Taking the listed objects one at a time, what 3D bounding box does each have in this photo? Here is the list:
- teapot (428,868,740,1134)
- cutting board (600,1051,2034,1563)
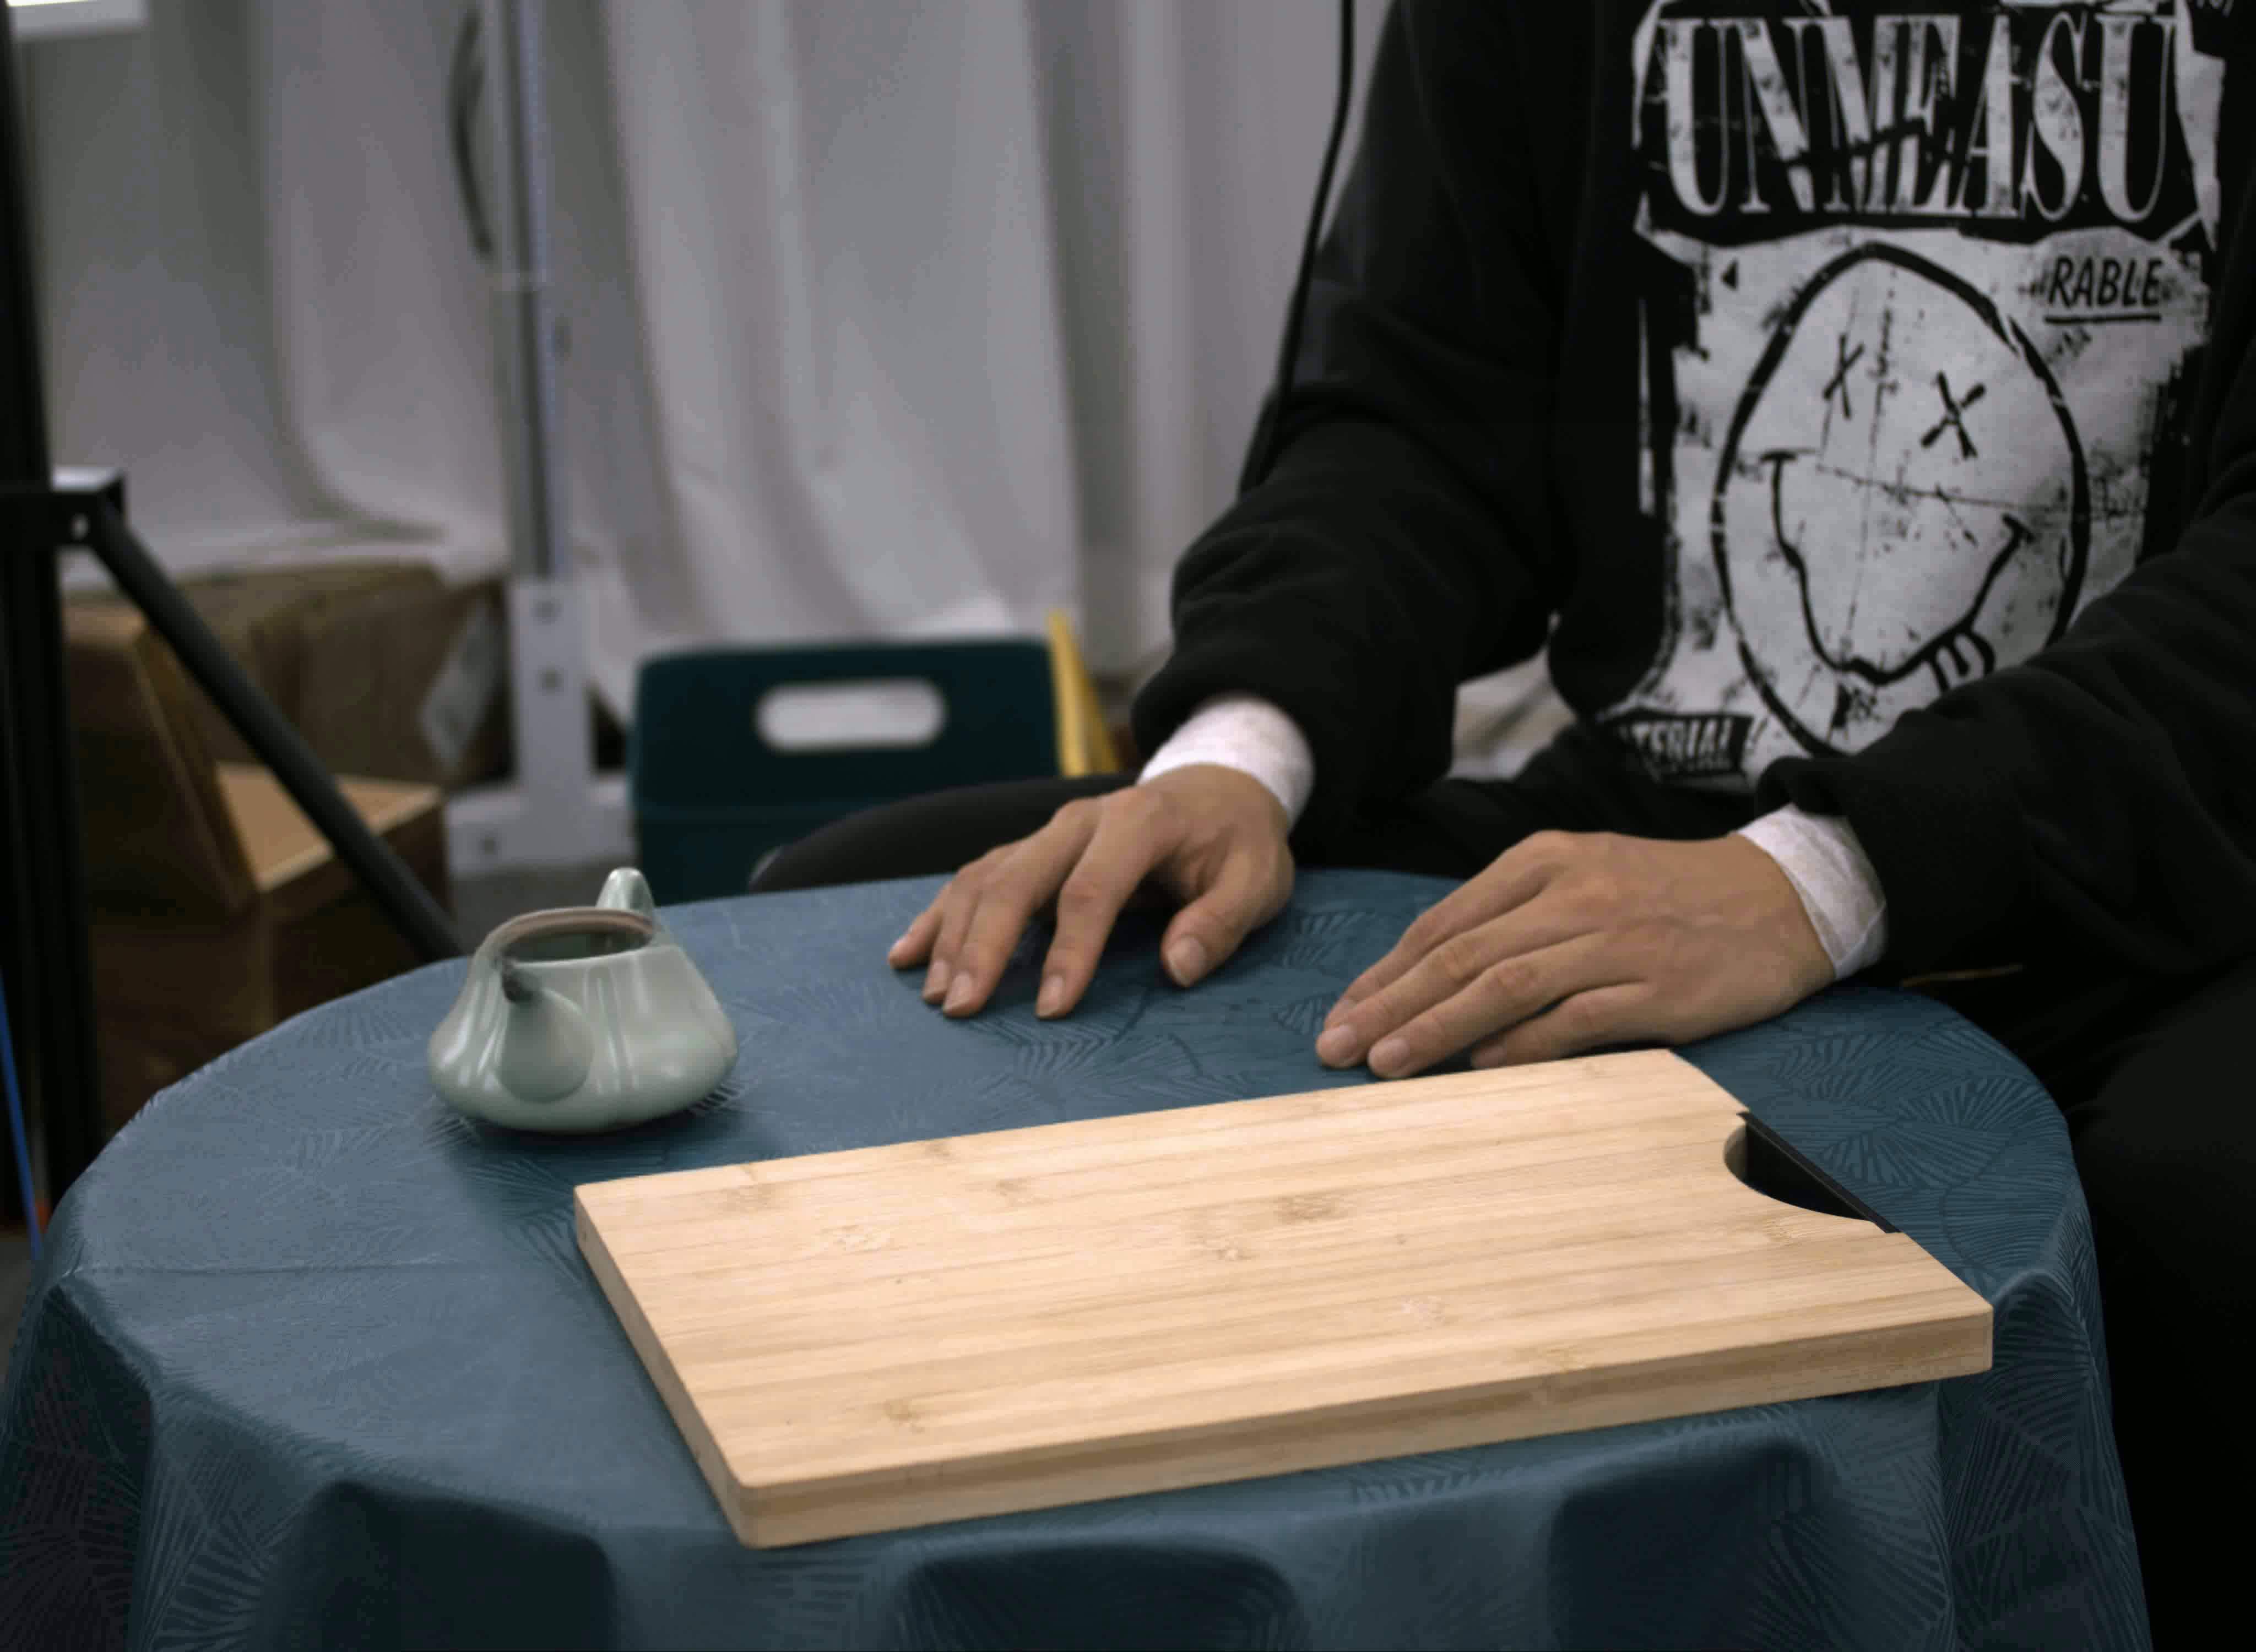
[{"bbox_3d":[-0.168,0.057,1.652,0.096,0.061,0.136,-1,16,9],"label":"teapot"},{"bbox_3d":[0.041,0.125,1.460,0.343,0.023,0.254,-7,16,-14],"label":"cutting board"}]
